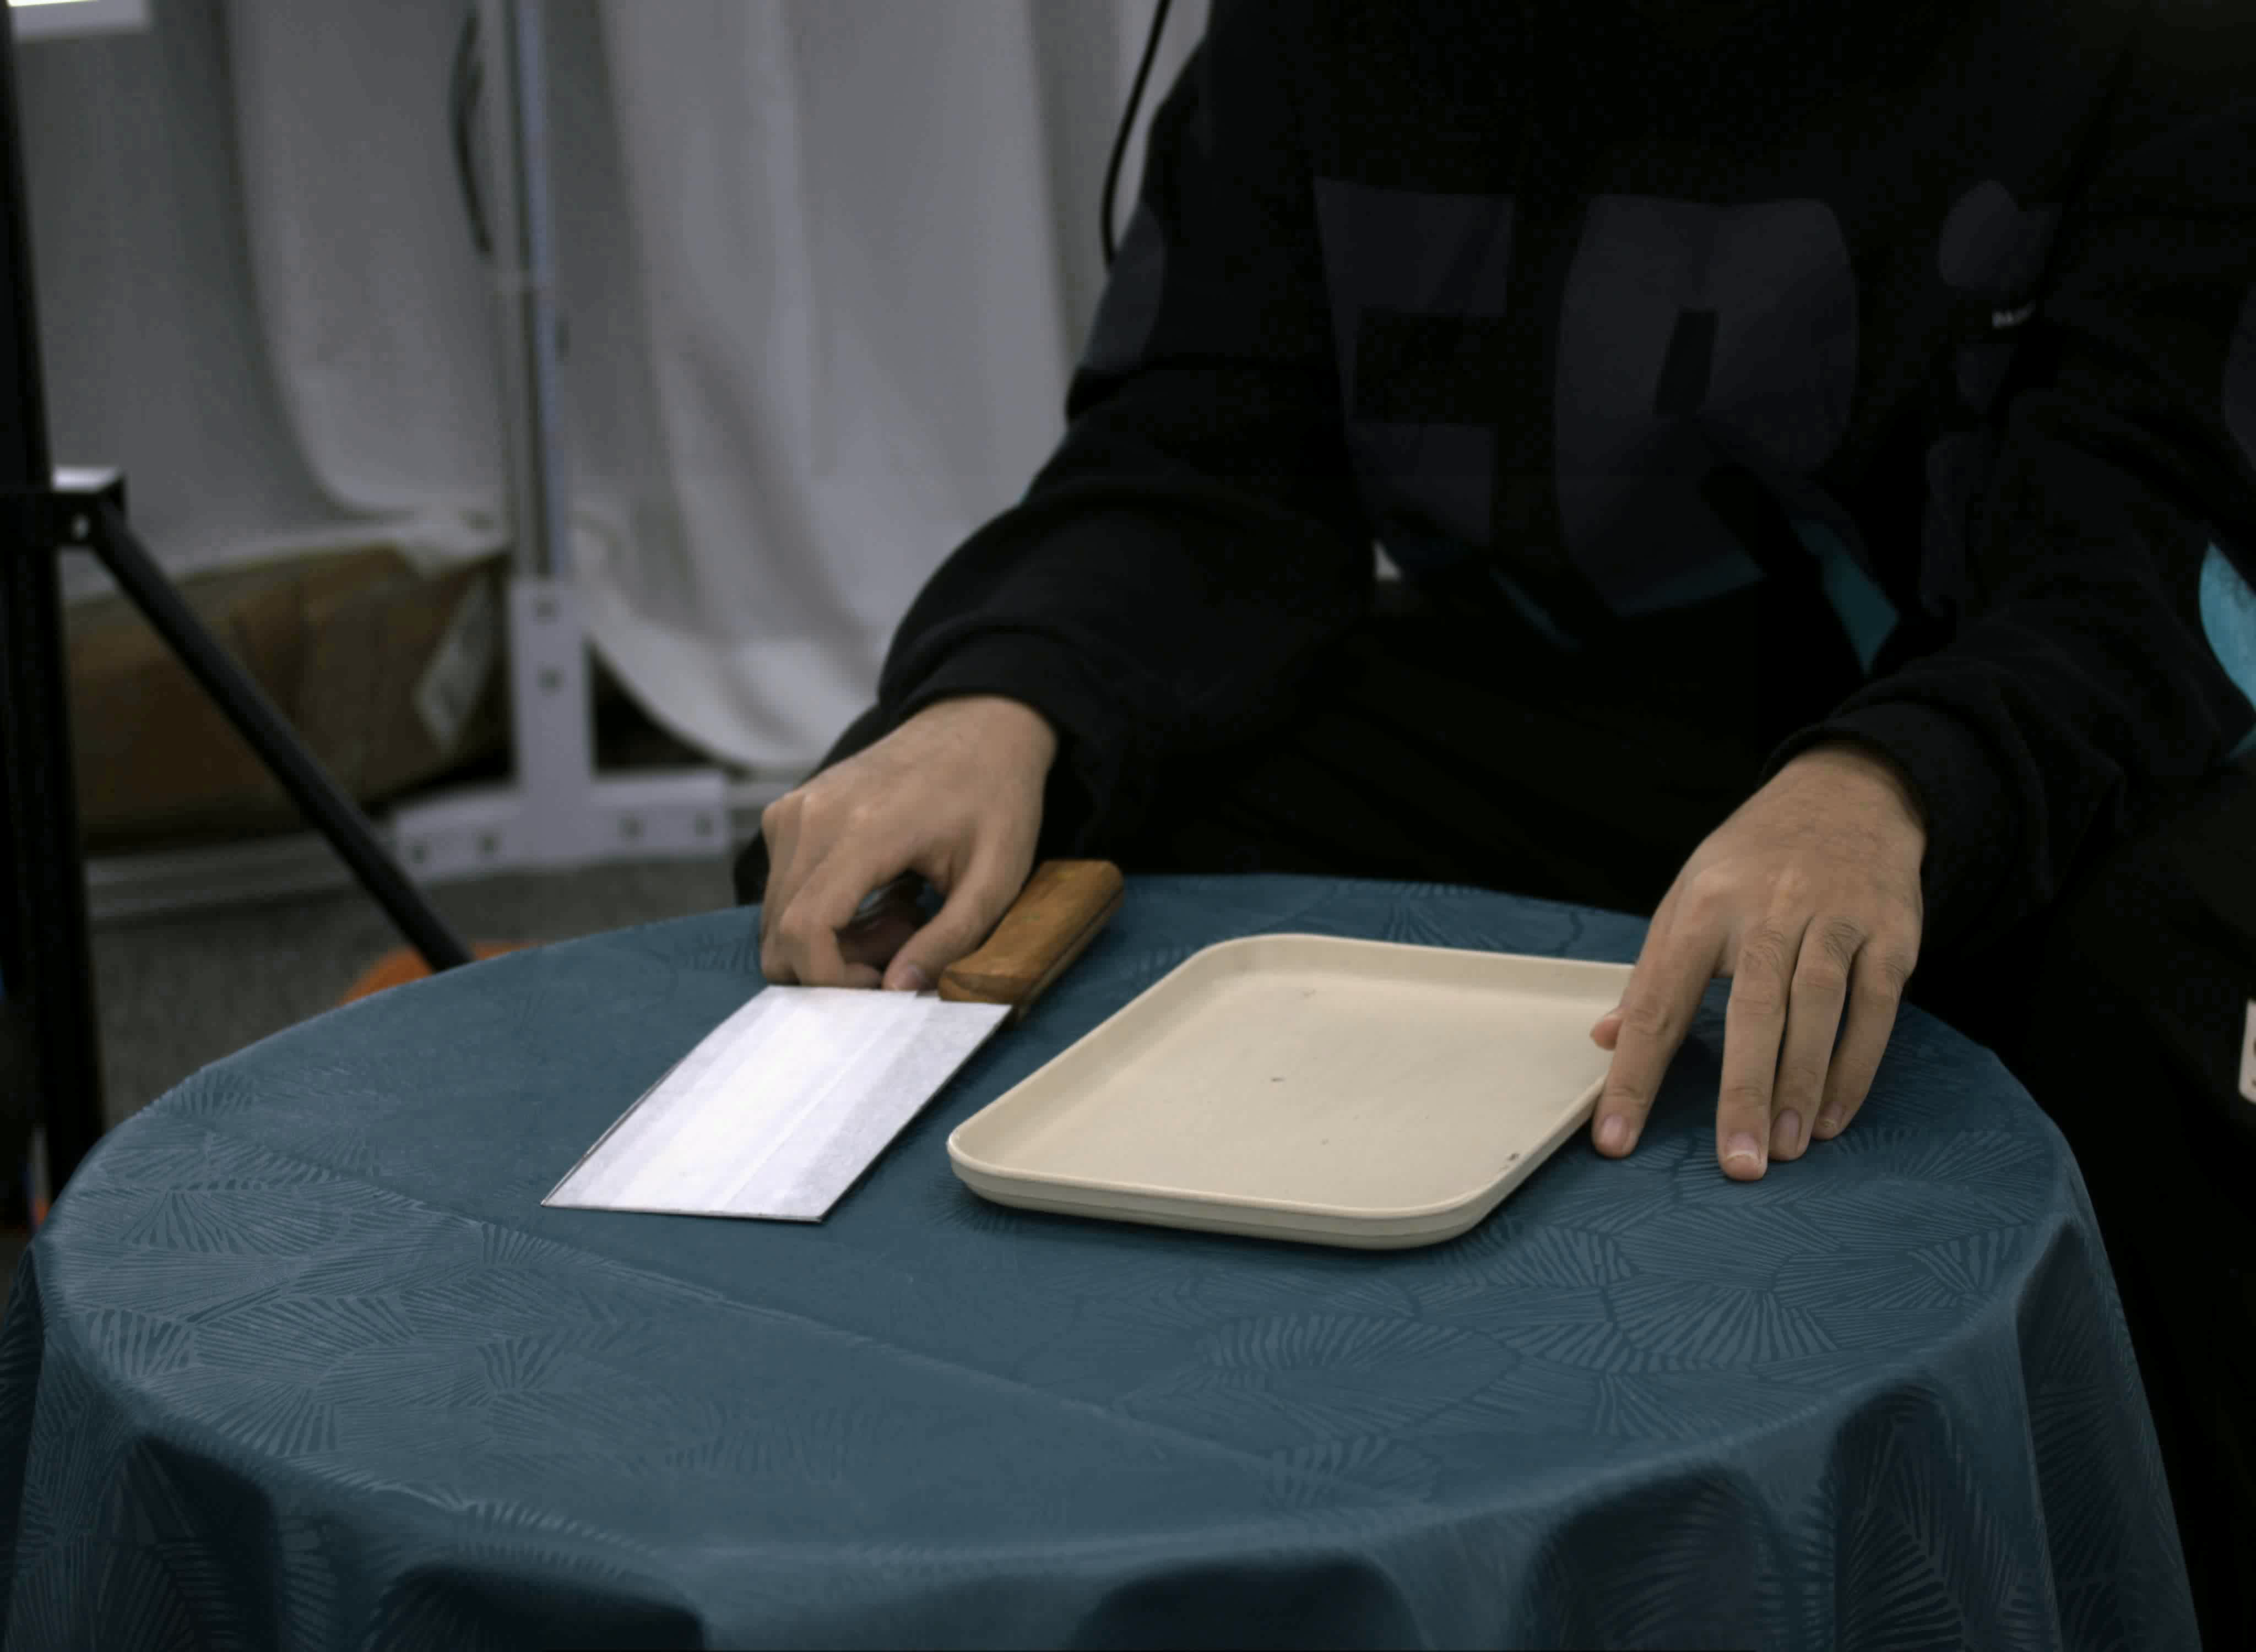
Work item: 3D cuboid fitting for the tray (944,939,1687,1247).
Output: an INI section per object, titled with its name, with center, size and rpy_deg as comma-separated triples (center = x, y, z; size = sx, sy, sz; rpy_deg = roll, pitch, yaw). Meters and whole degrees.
[tray]
center = 0.061, 0.080, 1.612
size = 0.174, 0.017, 0.236
rpy_deg = 4, 17, 25

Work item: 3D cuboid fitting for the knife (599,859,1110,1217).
[knife]
center = -0.085, 0.066, 1.693
size = 0.094, 0.021, 0.303
rpy_deg = 1, 19, 18
